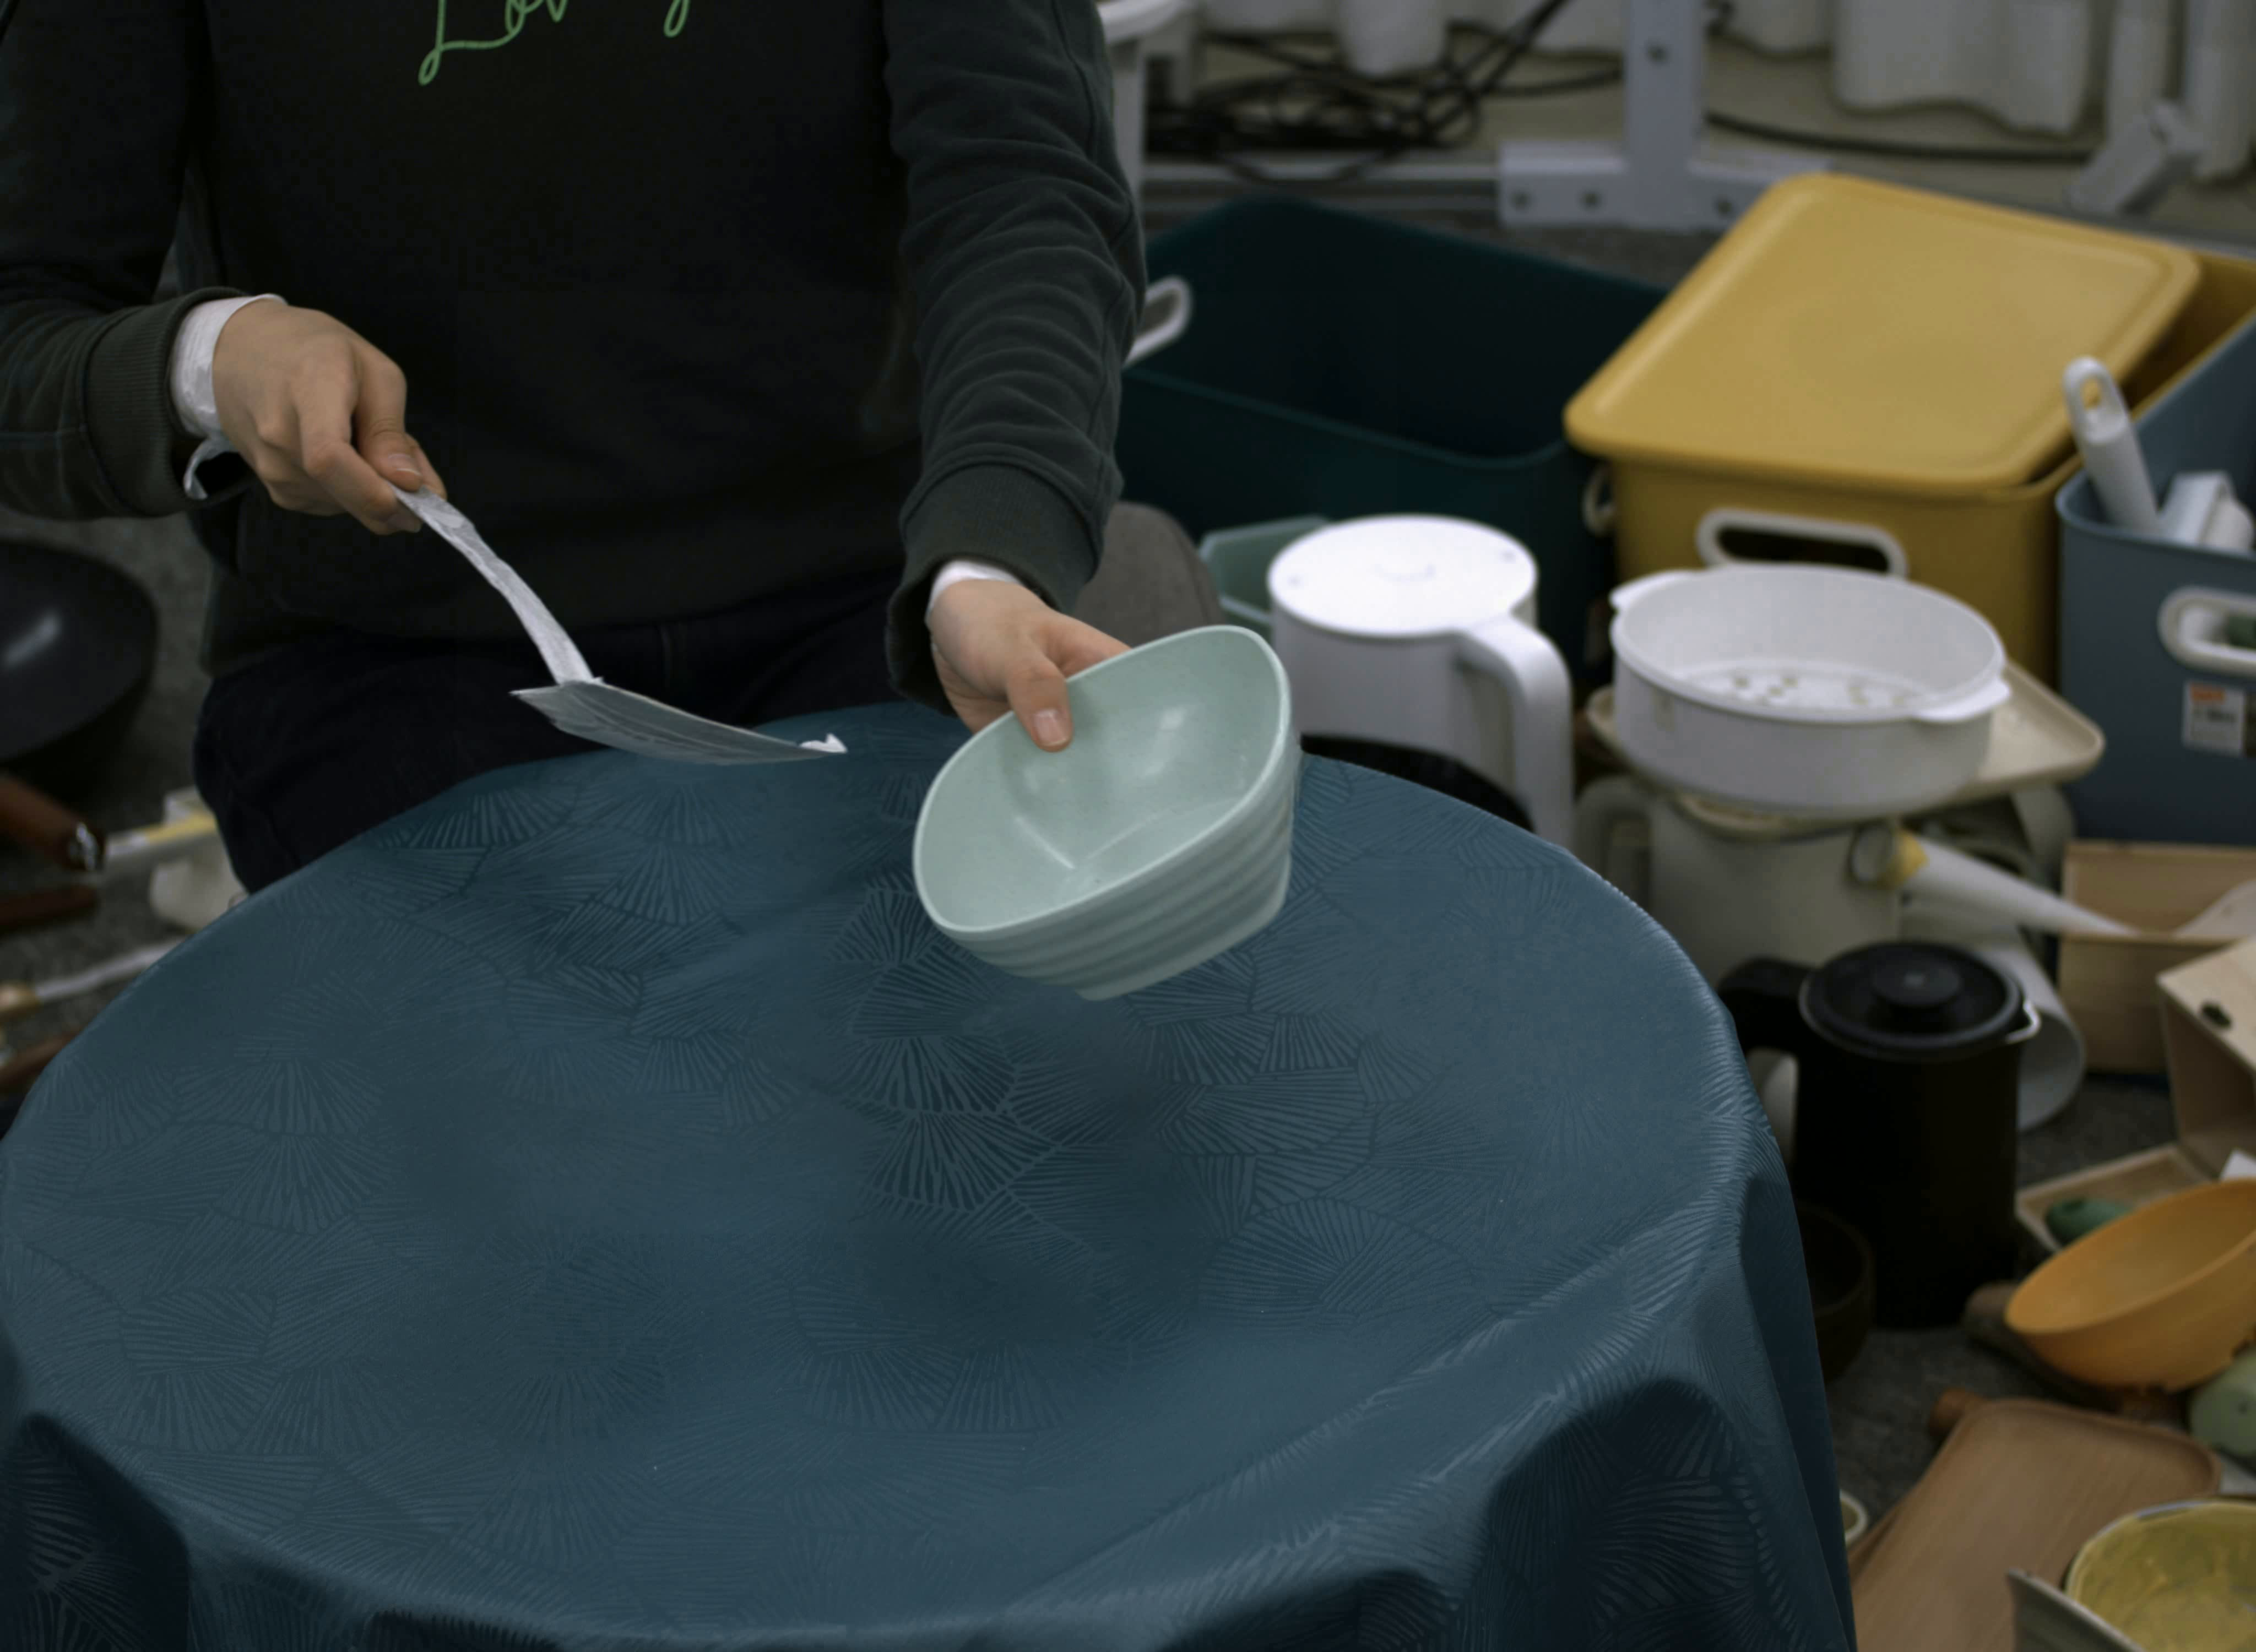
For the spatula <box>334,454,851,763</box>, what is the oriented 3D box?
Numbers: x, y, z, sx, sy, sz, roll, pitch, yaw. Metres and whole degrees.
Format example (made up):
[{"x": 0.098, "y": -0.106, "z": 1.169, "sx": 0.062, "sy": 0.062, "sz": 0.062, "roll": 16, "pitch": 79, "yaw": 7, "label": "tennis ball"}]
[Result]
[{"x": -0.205, "y": -0.083, "z": 1.912, "sx": 0.098, "sy": 0.044, "sz": 0.367, "roll": 14, "pitch": 15, "yaw": -32, "label": "spatula"}]

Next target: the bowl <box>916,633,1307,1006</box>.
[{"x": 0.004, "y": 0.006, "z": 1.855, "sx": 0.150, "sy": 0.058, "sz": 0.154, "roll": -21, "pitch": 31, "yaw": 14, "label": "bowl"}]
